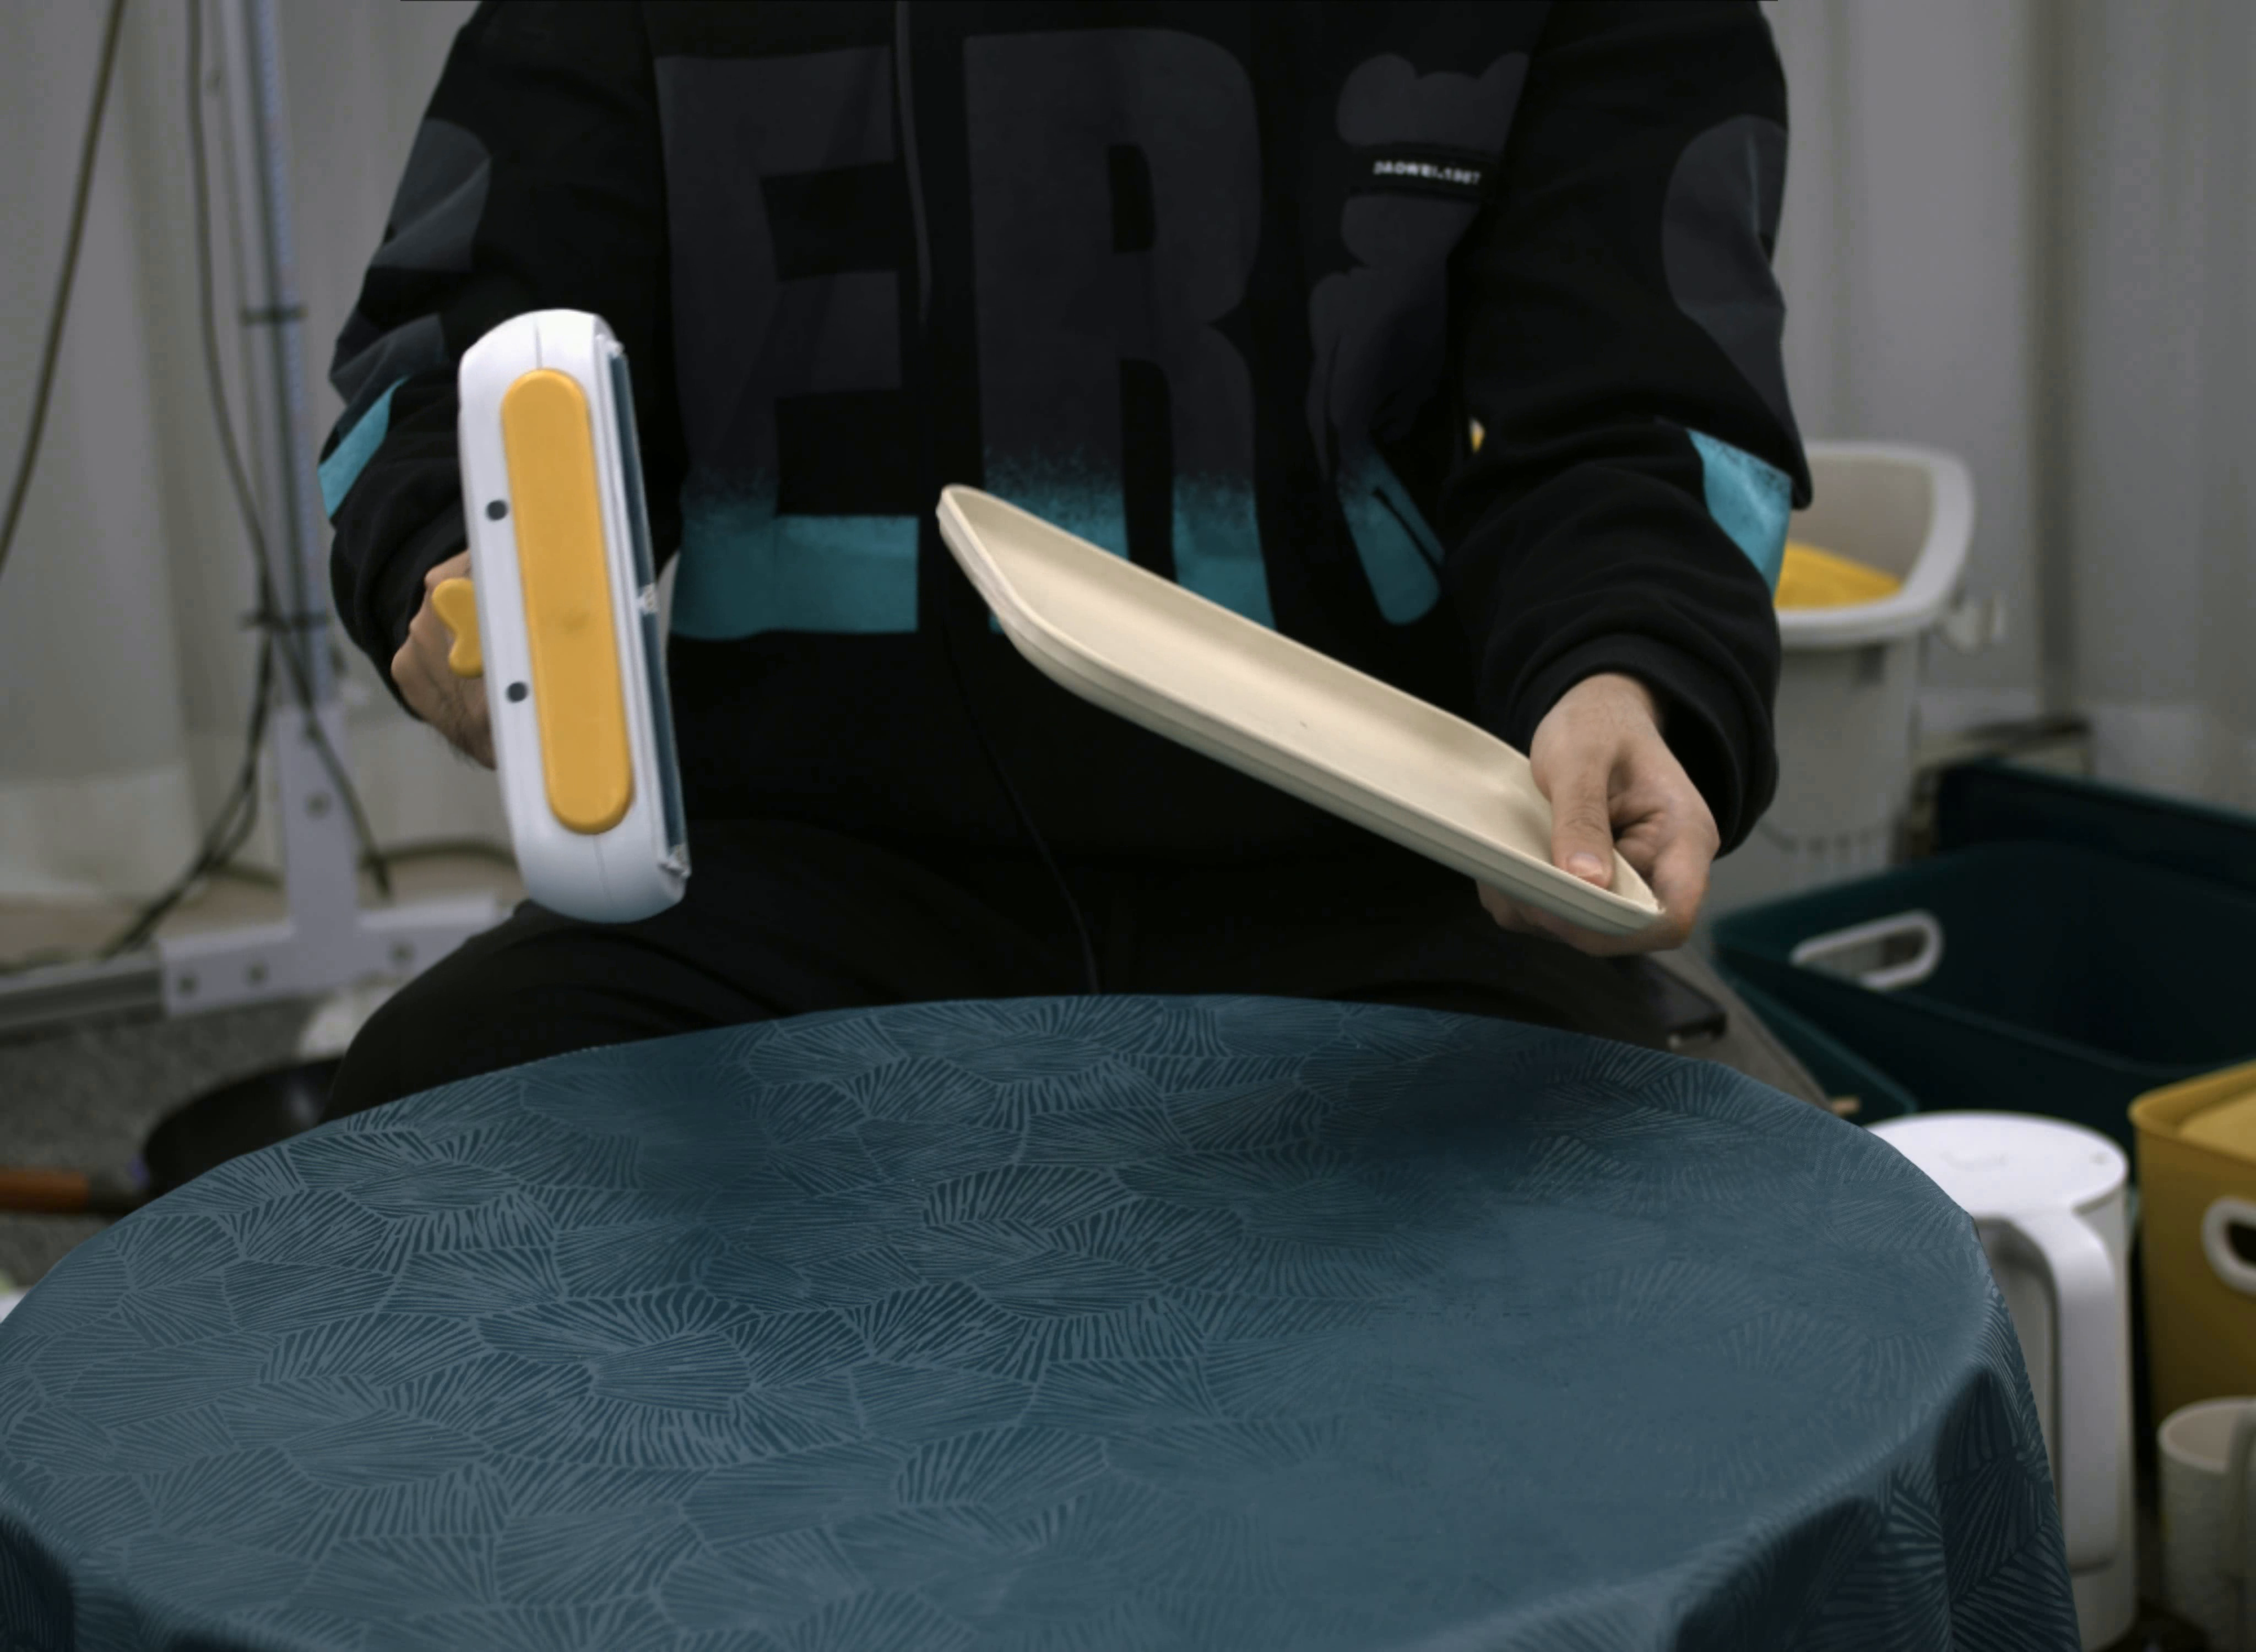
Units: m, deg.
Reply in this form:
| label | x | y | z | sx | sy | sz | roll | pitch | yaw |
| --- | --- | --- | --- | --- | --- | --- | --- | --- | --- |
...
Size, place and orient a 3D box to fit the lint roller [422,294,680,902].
| label | x | y | z | sx | sy | sz | roll | pitch | yaw |
| --- | --- | --- | --- | --- | --- | --- | --- | --- | --- |
| lint roller | -0.184 | -0.058 | 1.772 | 0.074 | 0.194 | 0.191 | -12 | -12 | -4 |

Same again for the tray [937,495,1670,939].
| label | x | y | z | sx | sy | sz | roll | pitch | yaw |
| --- | --- | --- | --- | --- | --- | --- | --- | --- | --- |
| tray | 0.052 | -0.033 | 1.738 | 0.237 | 0.017 | 0.173 | 24 | 11 | -21 |
